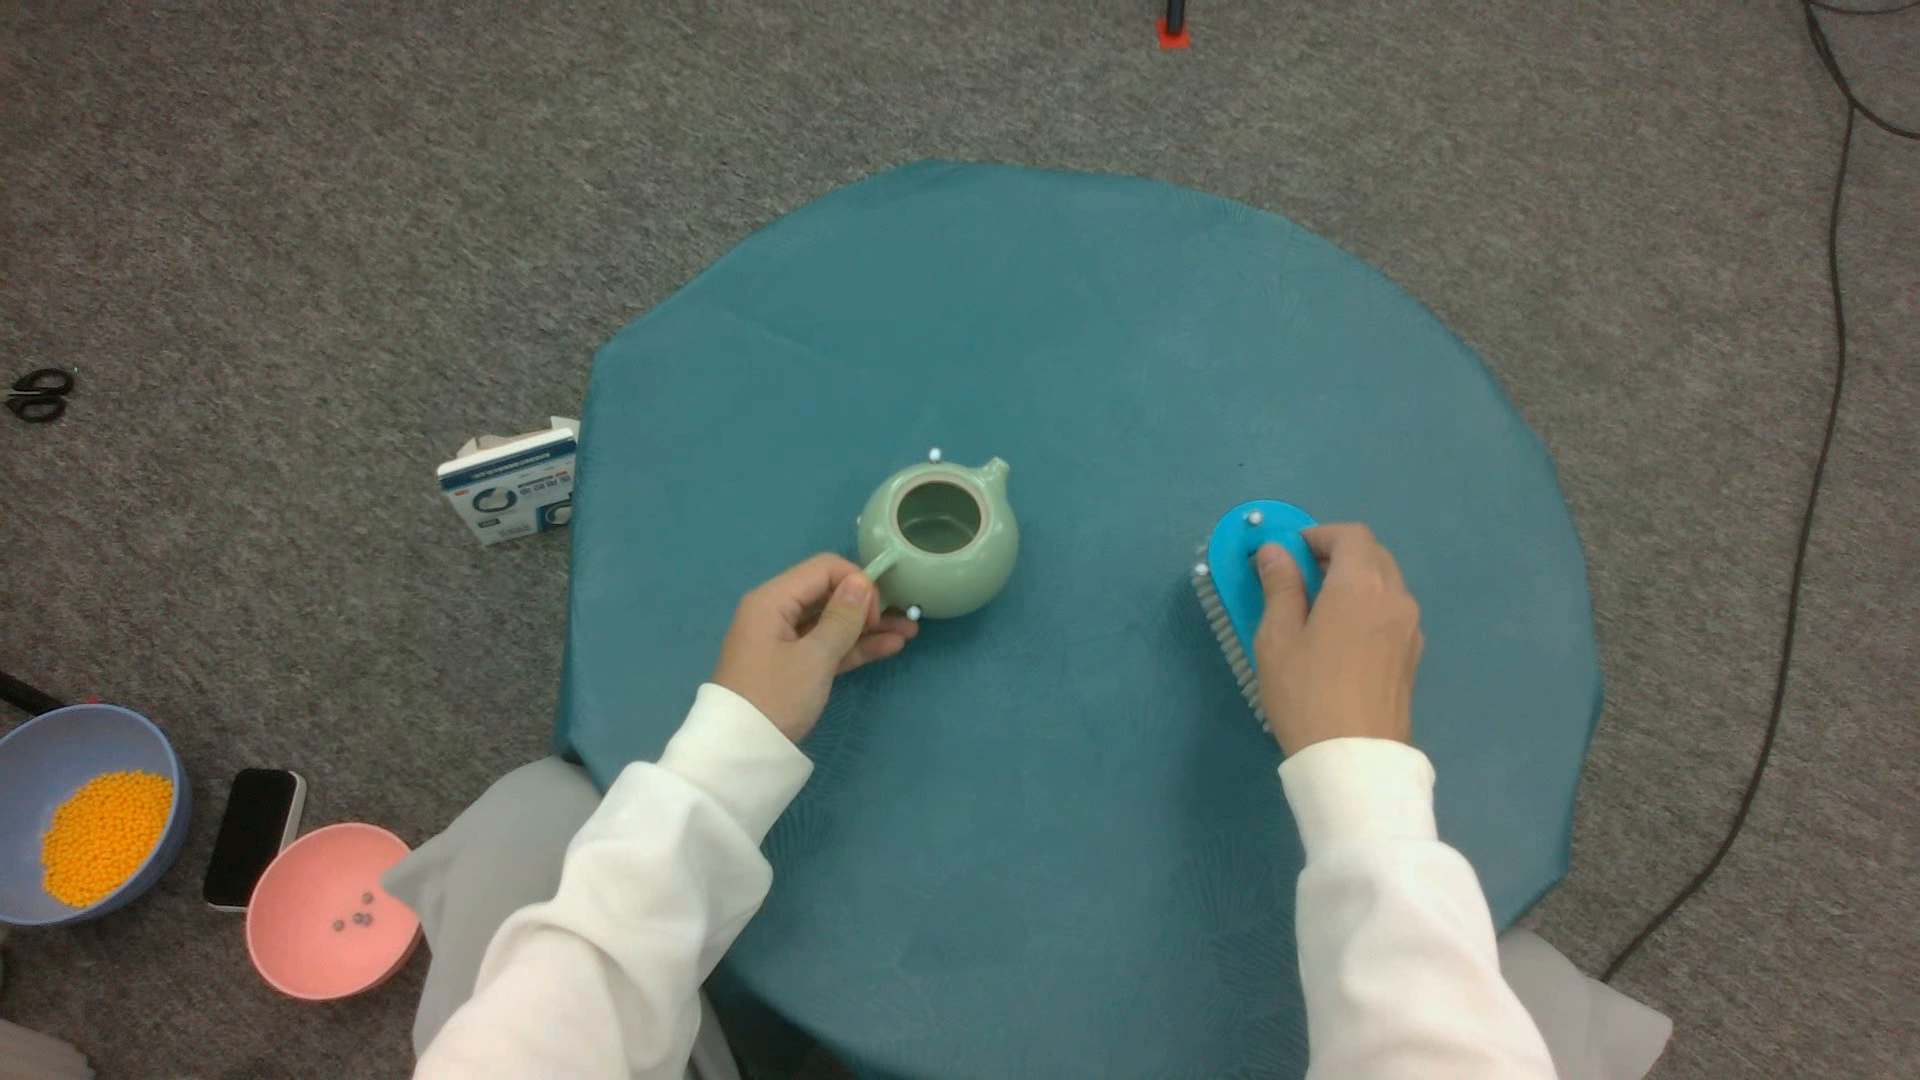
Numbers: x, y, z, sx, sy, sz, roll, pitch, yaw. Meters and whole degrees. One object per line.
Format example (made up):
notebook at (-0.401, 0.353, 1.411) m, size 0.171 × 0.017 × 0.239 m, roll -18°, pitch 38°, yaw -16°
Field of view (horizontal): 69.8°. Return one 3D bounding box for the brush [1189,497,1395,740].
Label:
brush at (0.188, 0.036, 0.758) m, size 0.084 × 0.063 × 0.142 m, roll -18°, pitch 71°, yaw -15°

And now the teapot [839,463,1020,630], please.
teapot at (-0.018, 0.008, 0.785) m, size 0.129 × 0.060 × 0.091 m, roll -38°, pitch 70°, yaw -21°
